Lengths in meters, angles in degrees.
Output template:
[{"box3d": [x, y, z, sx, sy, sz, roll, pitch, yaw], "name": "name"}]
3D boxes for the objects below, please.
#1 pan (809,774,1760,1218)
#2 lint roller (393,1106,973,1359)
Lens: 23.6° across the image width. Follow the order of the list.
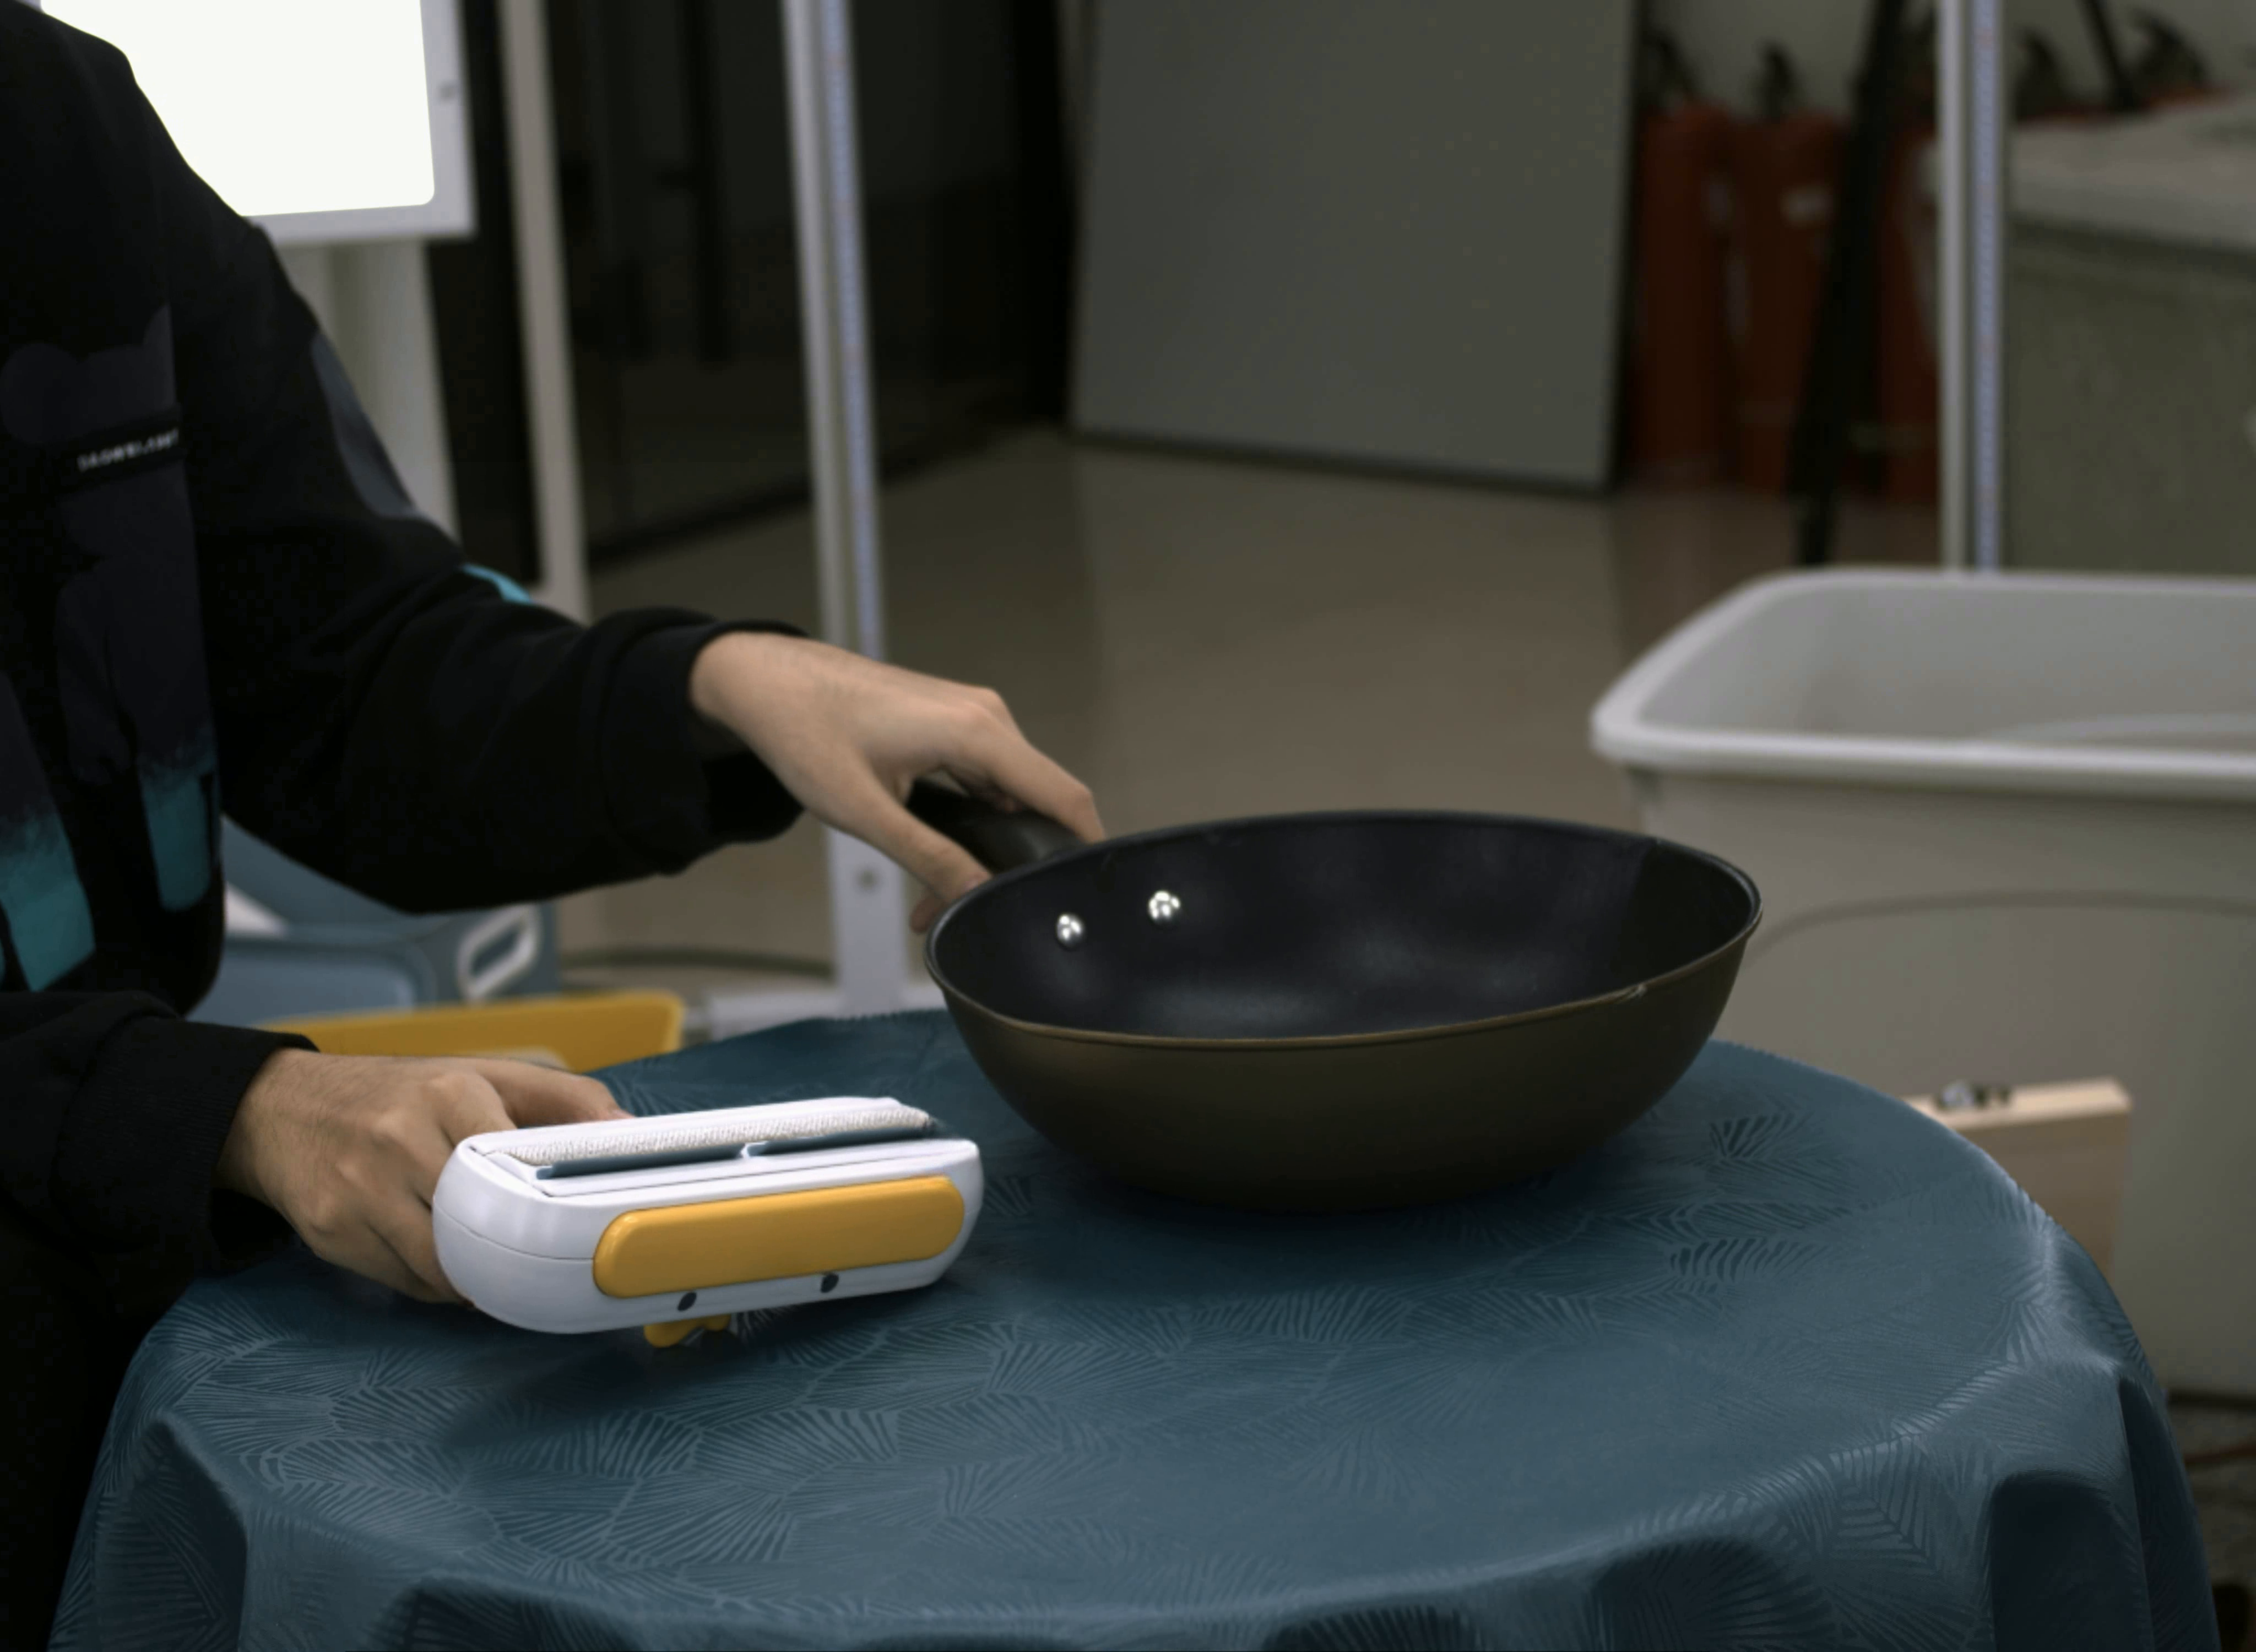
[{"box3d": [0.018, 0.054, 1.865, 0.282, 0.088, 0.468, -14, 17, -34], "name": "pan"}, {"box3d": [-0.168, 0.116, 1.690, 0.188, 0.075, 0.194, -8, 14, -38], "name": "lint roller"}]
